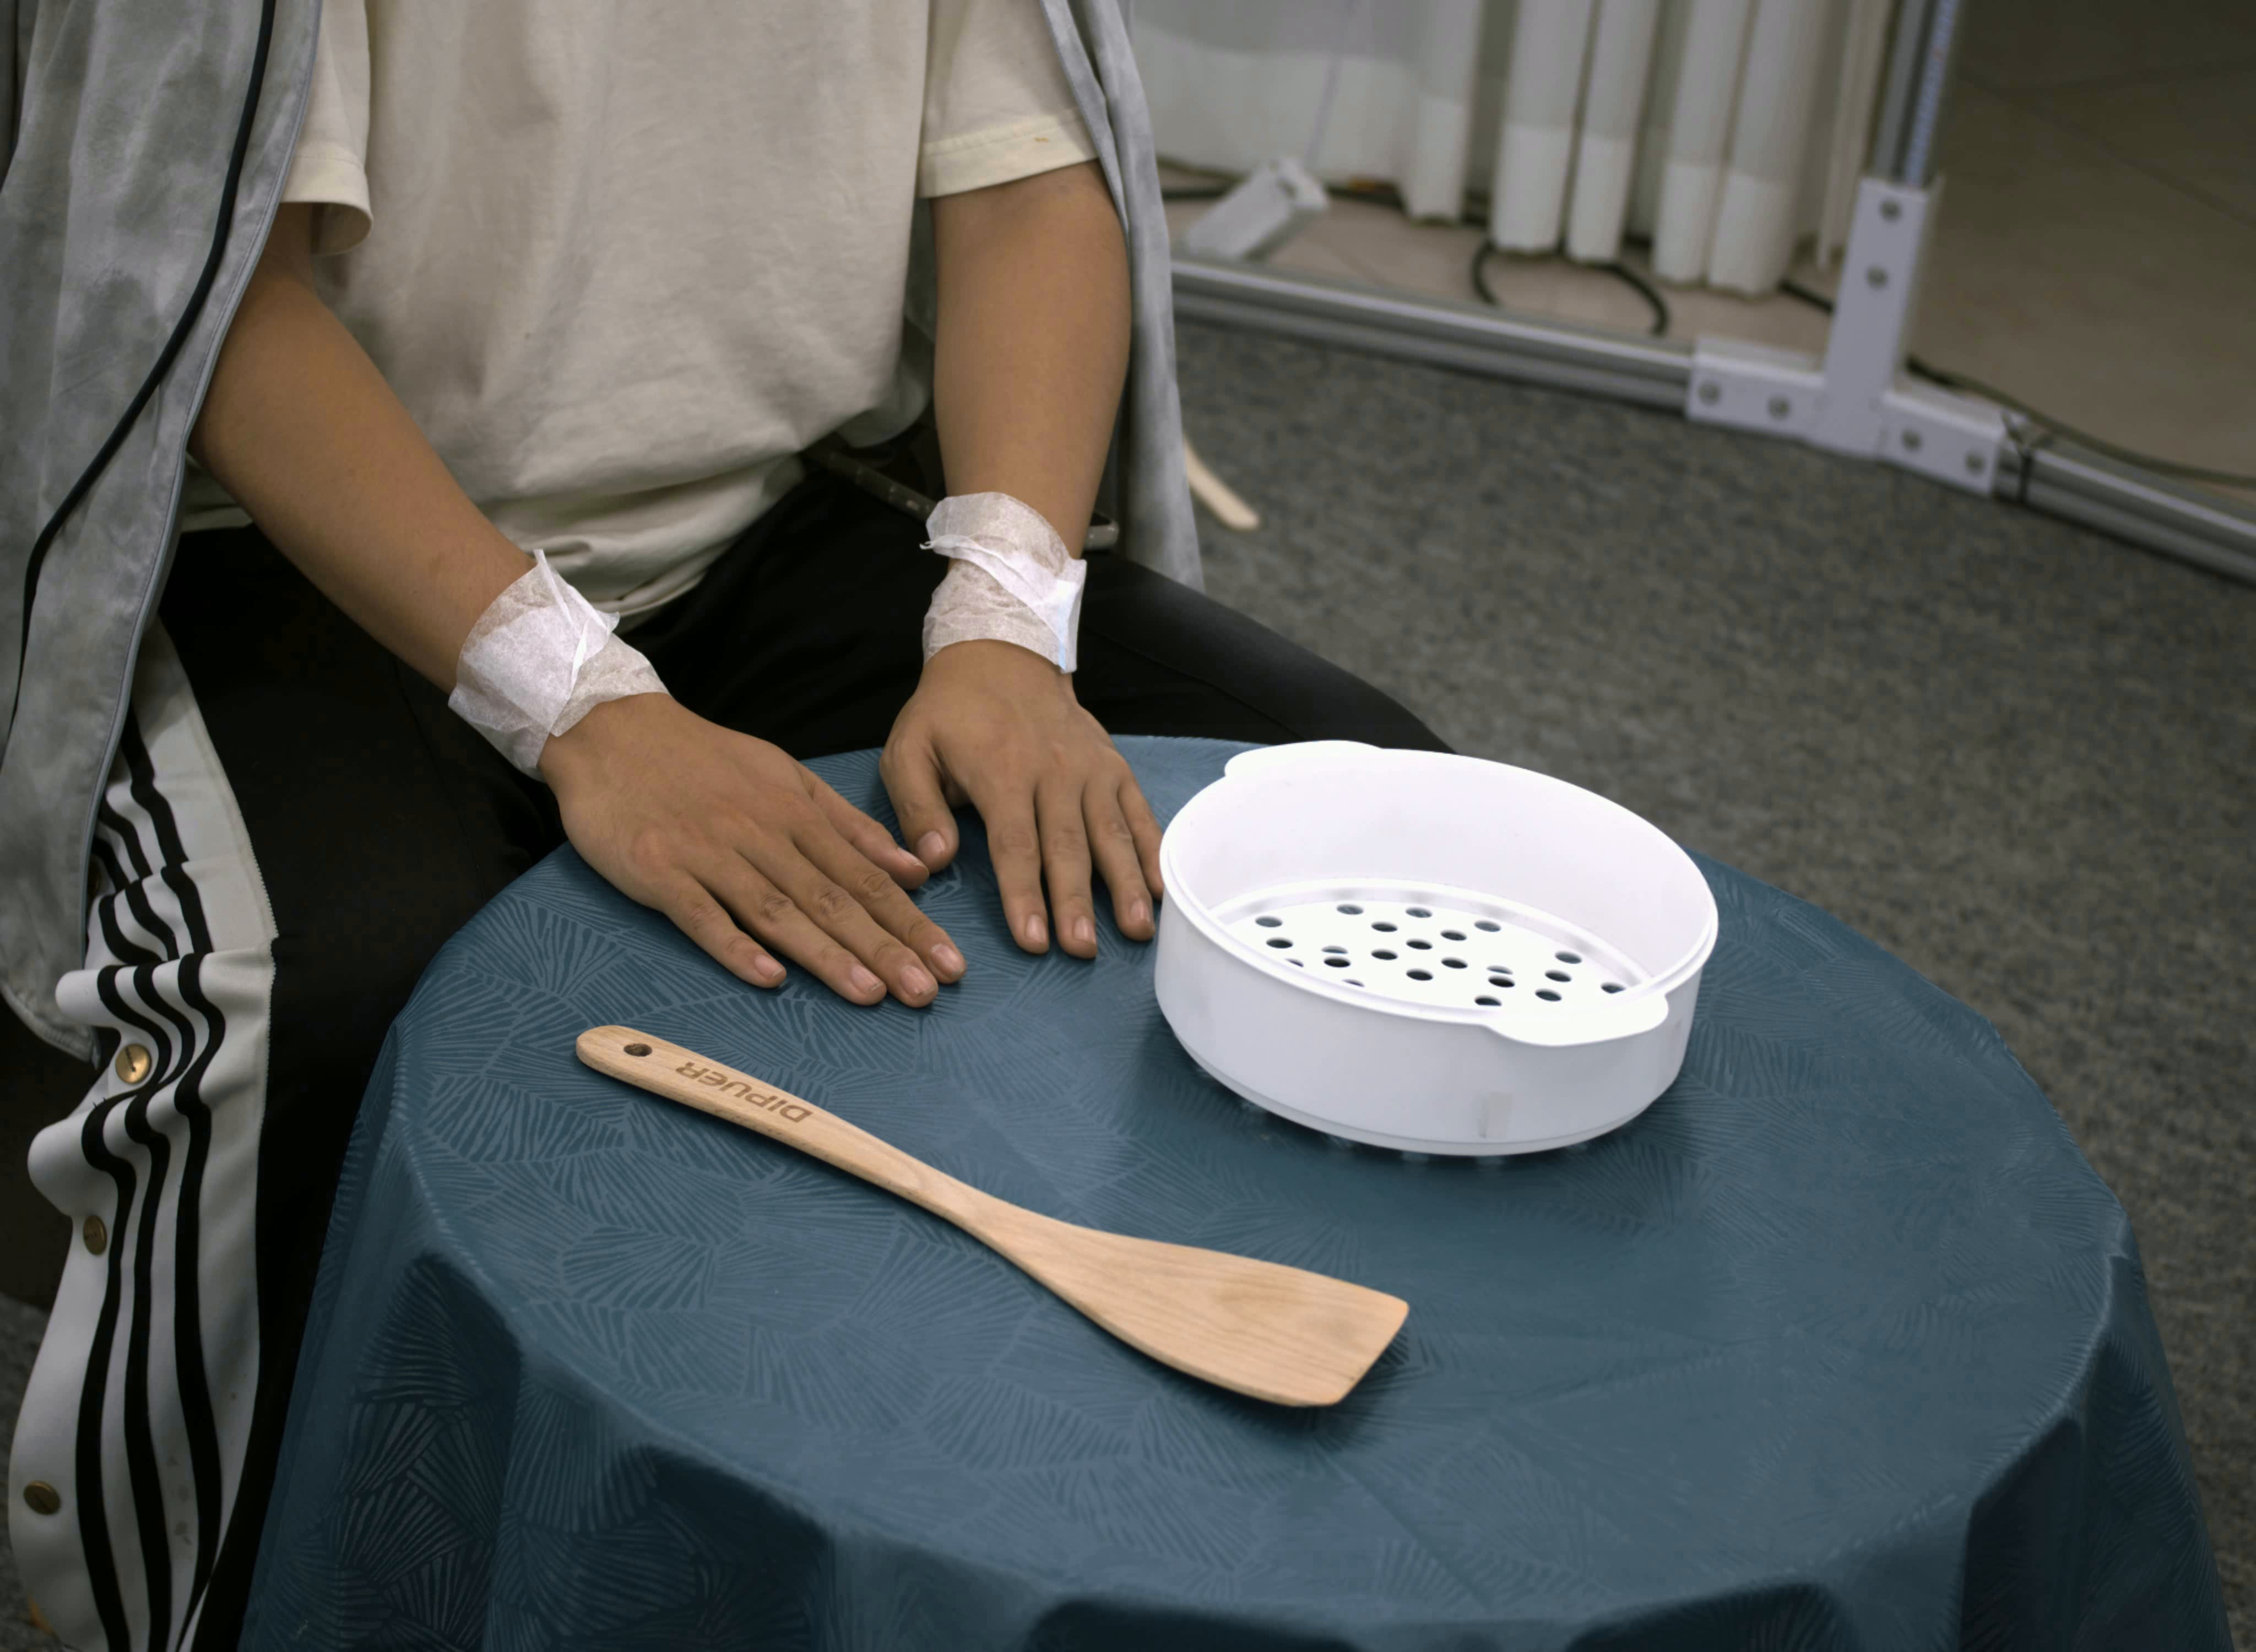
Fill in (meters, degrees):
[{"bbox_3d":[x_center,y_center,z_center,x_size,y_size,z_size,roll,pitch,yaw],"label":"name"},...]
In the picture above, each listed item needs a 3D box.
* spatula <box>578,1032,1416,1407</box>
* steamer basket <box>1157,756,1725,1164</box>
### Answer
[{"bbox_3d":[-0.051,0.124,1.773,0.329,0.016,0.080,21,29,27],"label":"spatula"},{"bbox_3d":[0.109,0.049,1.904,0.200,0.069,0.232,-6,28,-26],"label":"steamer basket"}]
